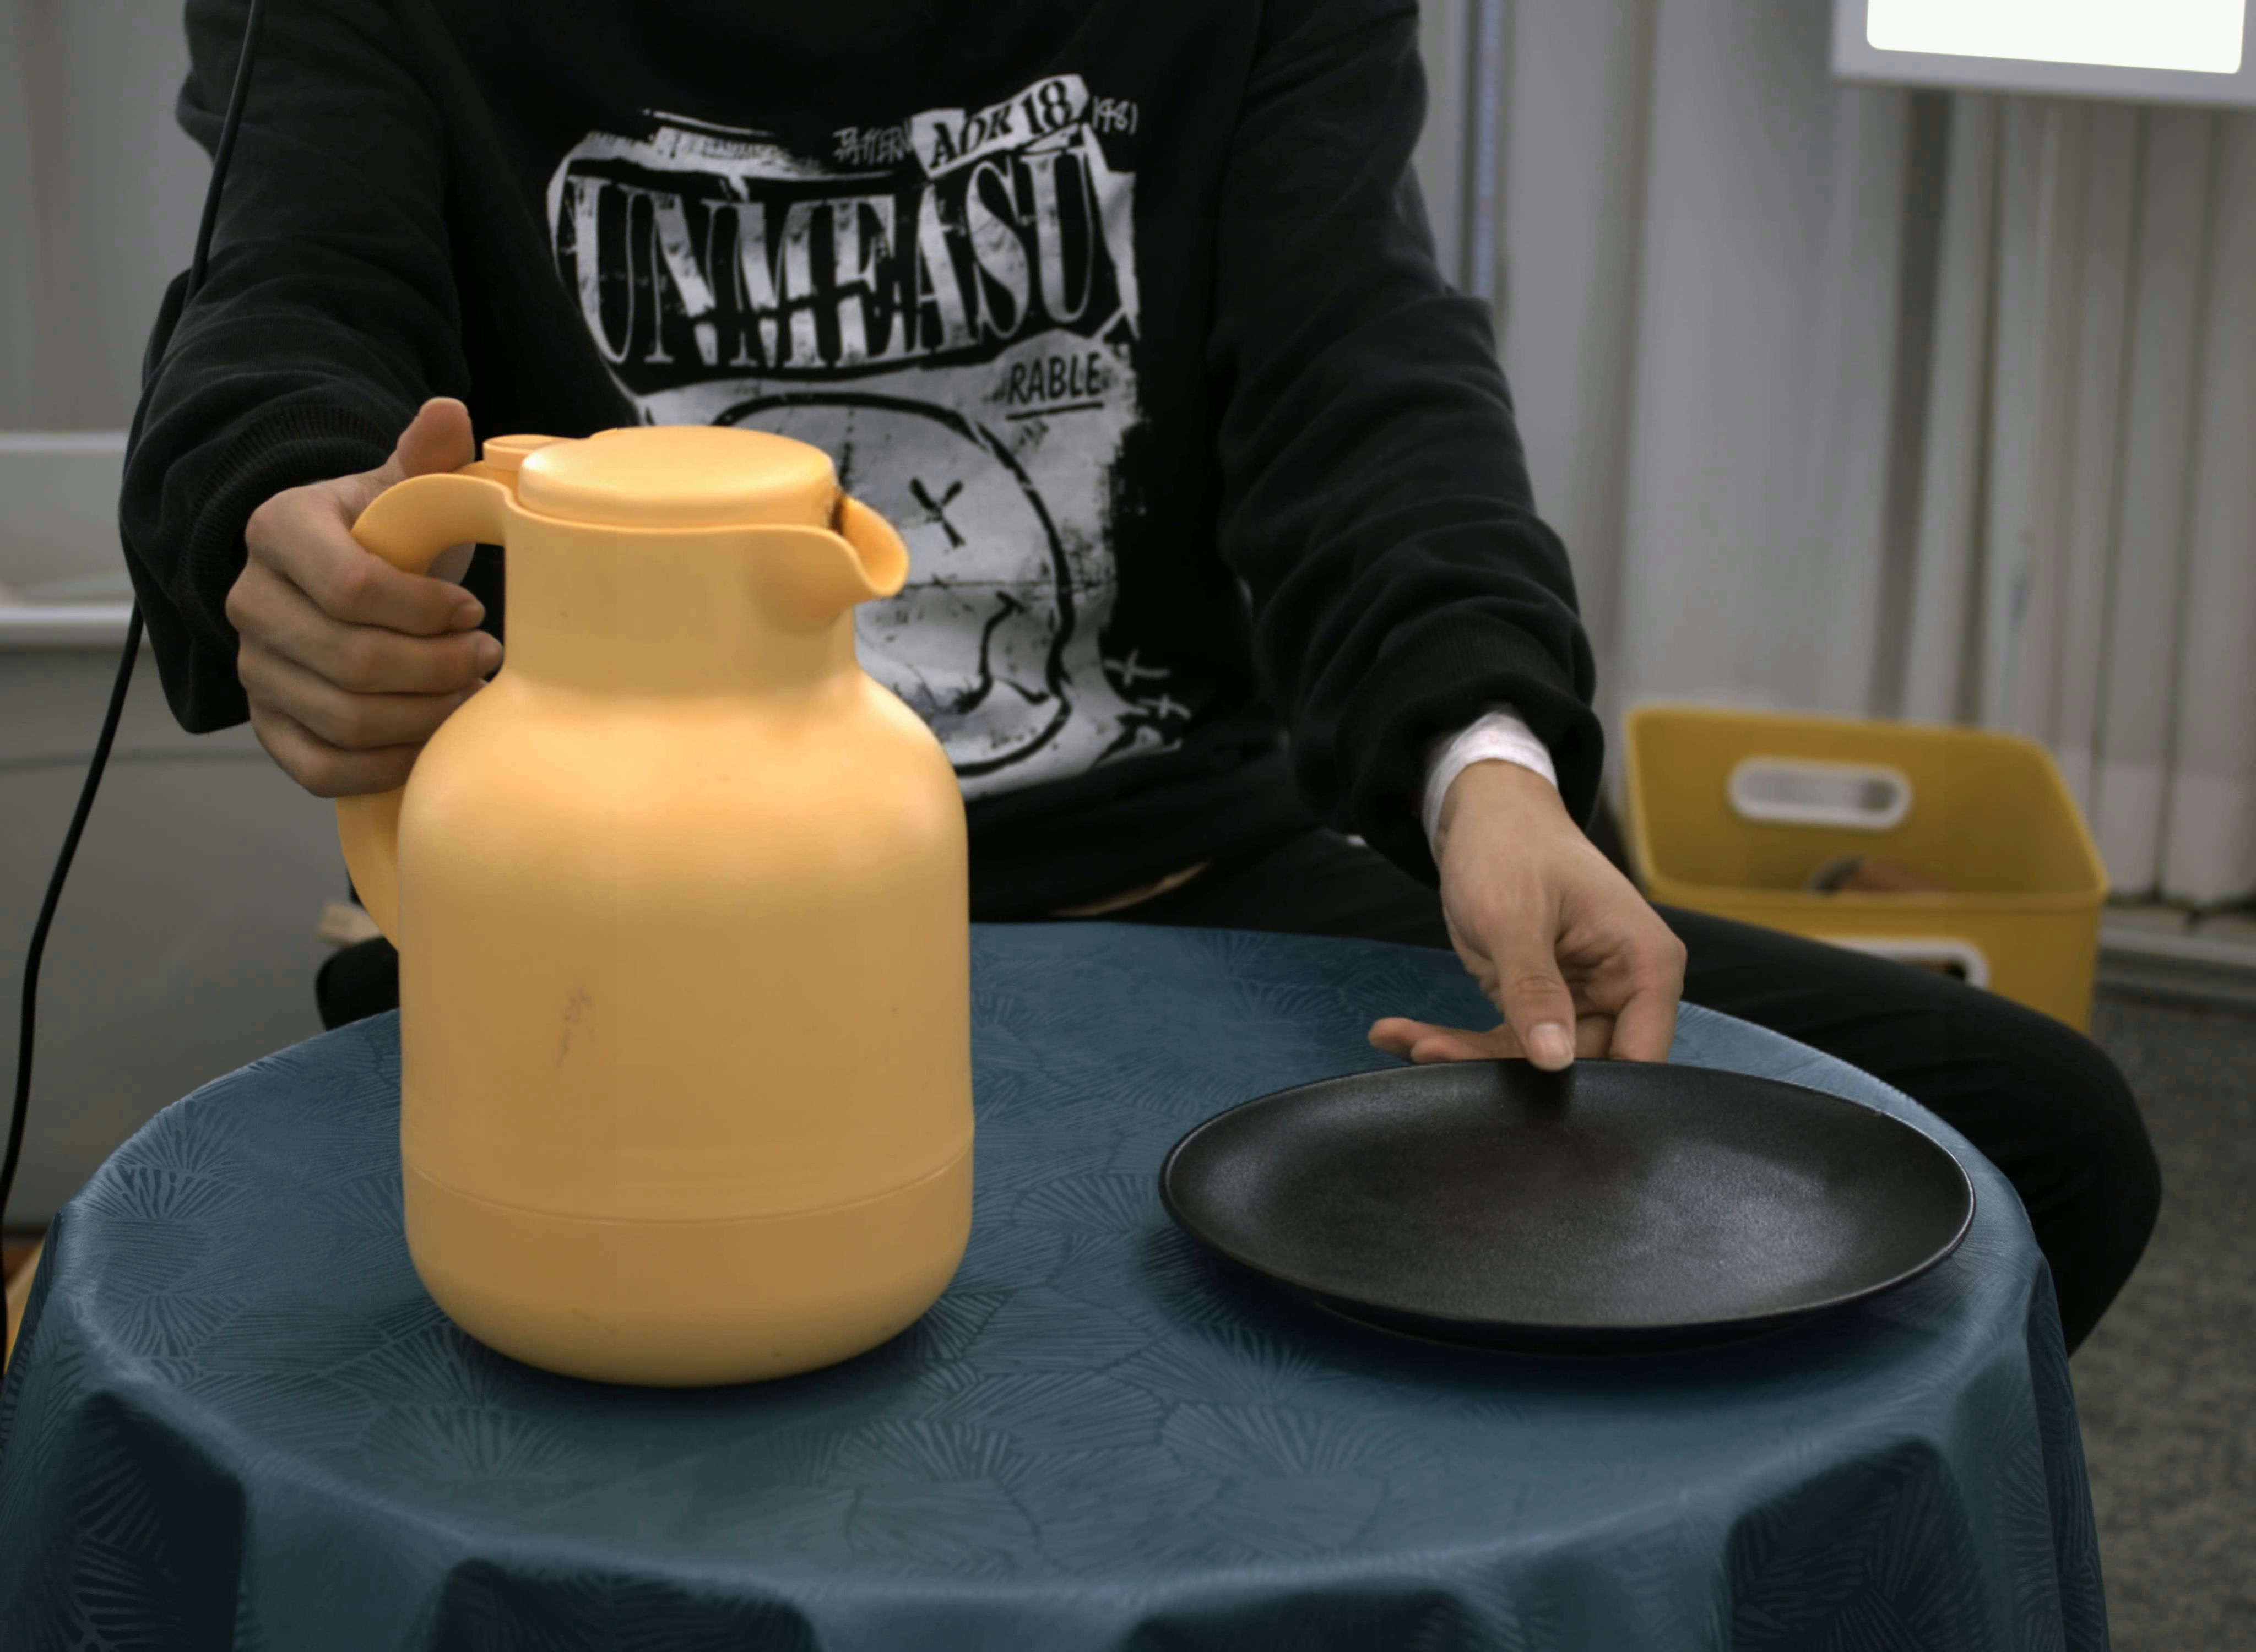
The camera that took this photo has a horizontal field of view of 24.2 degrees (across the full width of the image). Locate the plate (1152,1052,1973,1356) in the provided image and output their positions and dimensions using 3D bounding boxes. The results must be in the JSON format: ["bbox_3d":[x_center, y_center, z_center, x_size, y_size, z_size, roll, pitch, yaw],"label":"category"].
[{"bbox_3d":[0.129,0.115,1.572,0.243,0.023,0.243,1,16,0],"label":"plate"}]

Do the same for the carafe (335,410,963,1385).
[{"bbox_3d":[-0.141,0.012,1.486,0.200,0.262,0.164,14,18,34],"label":"carafe"}]
